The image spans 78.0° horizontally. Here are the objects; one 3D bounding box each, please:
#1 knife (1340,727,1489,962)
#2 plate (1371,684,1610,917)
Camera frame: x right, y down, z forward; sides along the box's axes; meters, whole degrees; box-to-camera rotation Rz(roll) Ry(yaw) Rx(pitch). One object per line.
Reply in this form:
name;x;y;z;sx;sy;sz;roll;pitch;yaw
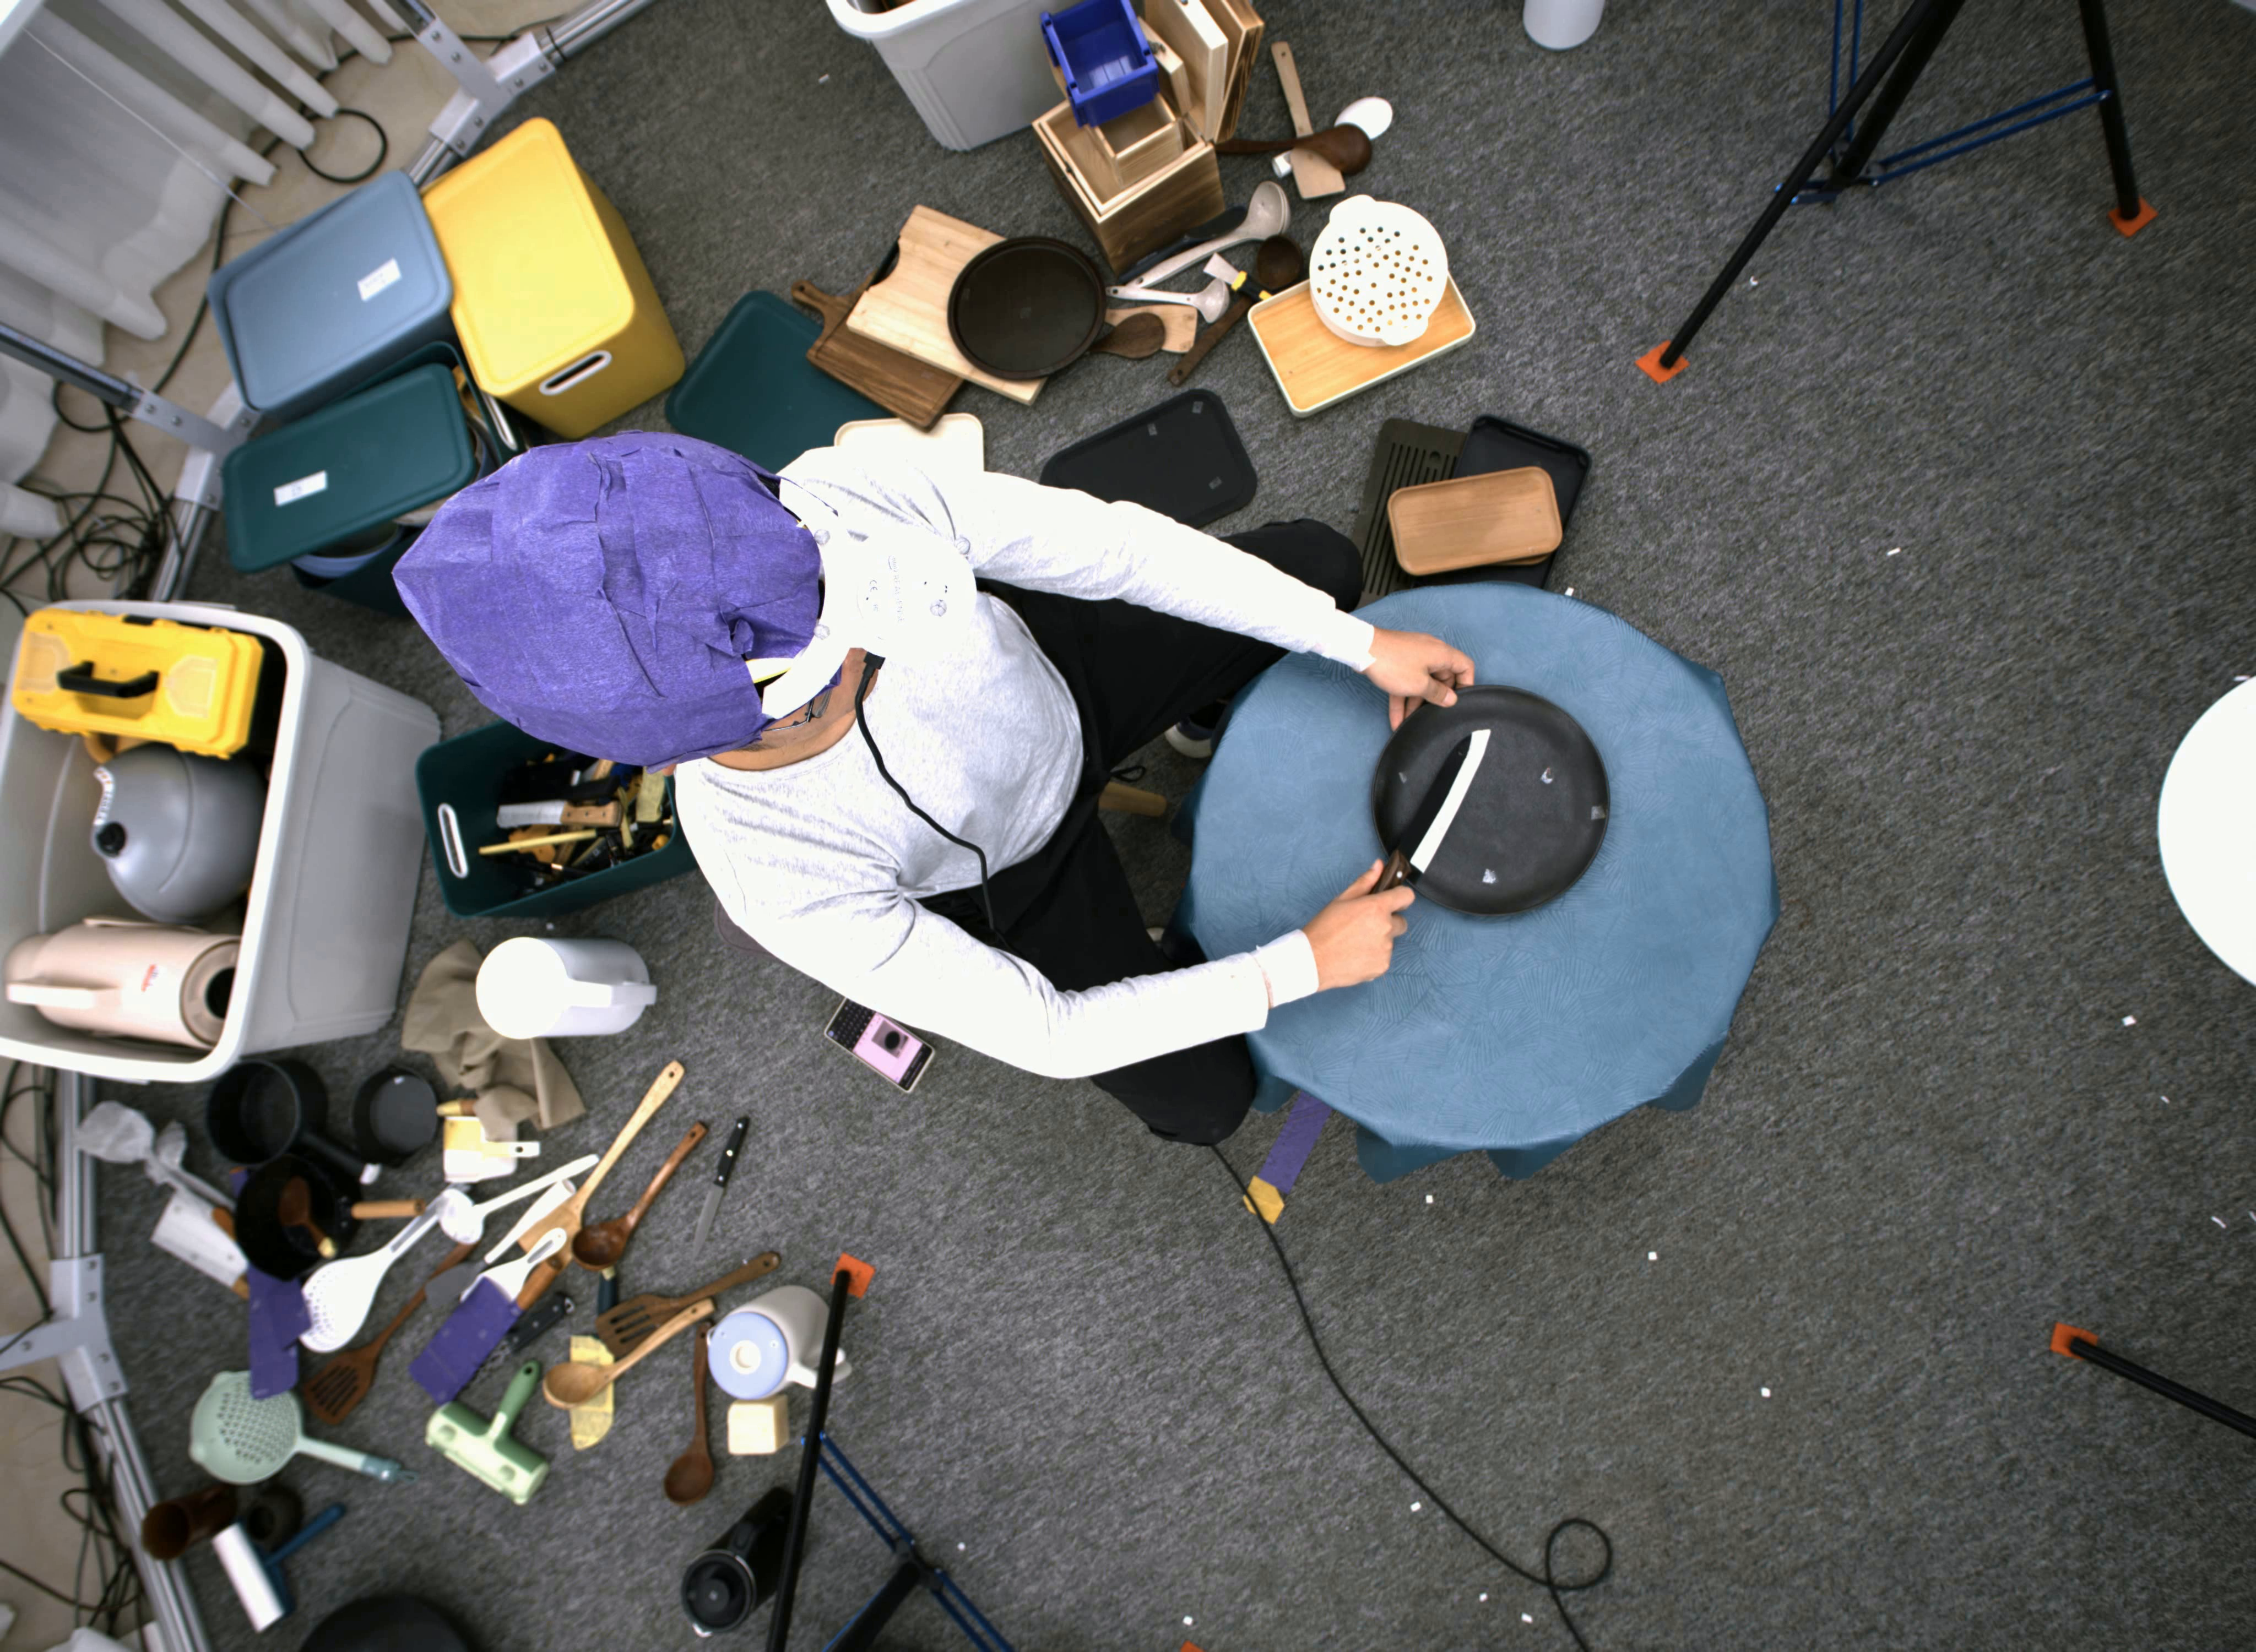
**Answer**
knife;0.298;0.016;1.417;0.050;0.020;0.288;34;85;-27
plate;0.376;-0.029;1.434;0.245;0.023;0.243;-1;87;11
